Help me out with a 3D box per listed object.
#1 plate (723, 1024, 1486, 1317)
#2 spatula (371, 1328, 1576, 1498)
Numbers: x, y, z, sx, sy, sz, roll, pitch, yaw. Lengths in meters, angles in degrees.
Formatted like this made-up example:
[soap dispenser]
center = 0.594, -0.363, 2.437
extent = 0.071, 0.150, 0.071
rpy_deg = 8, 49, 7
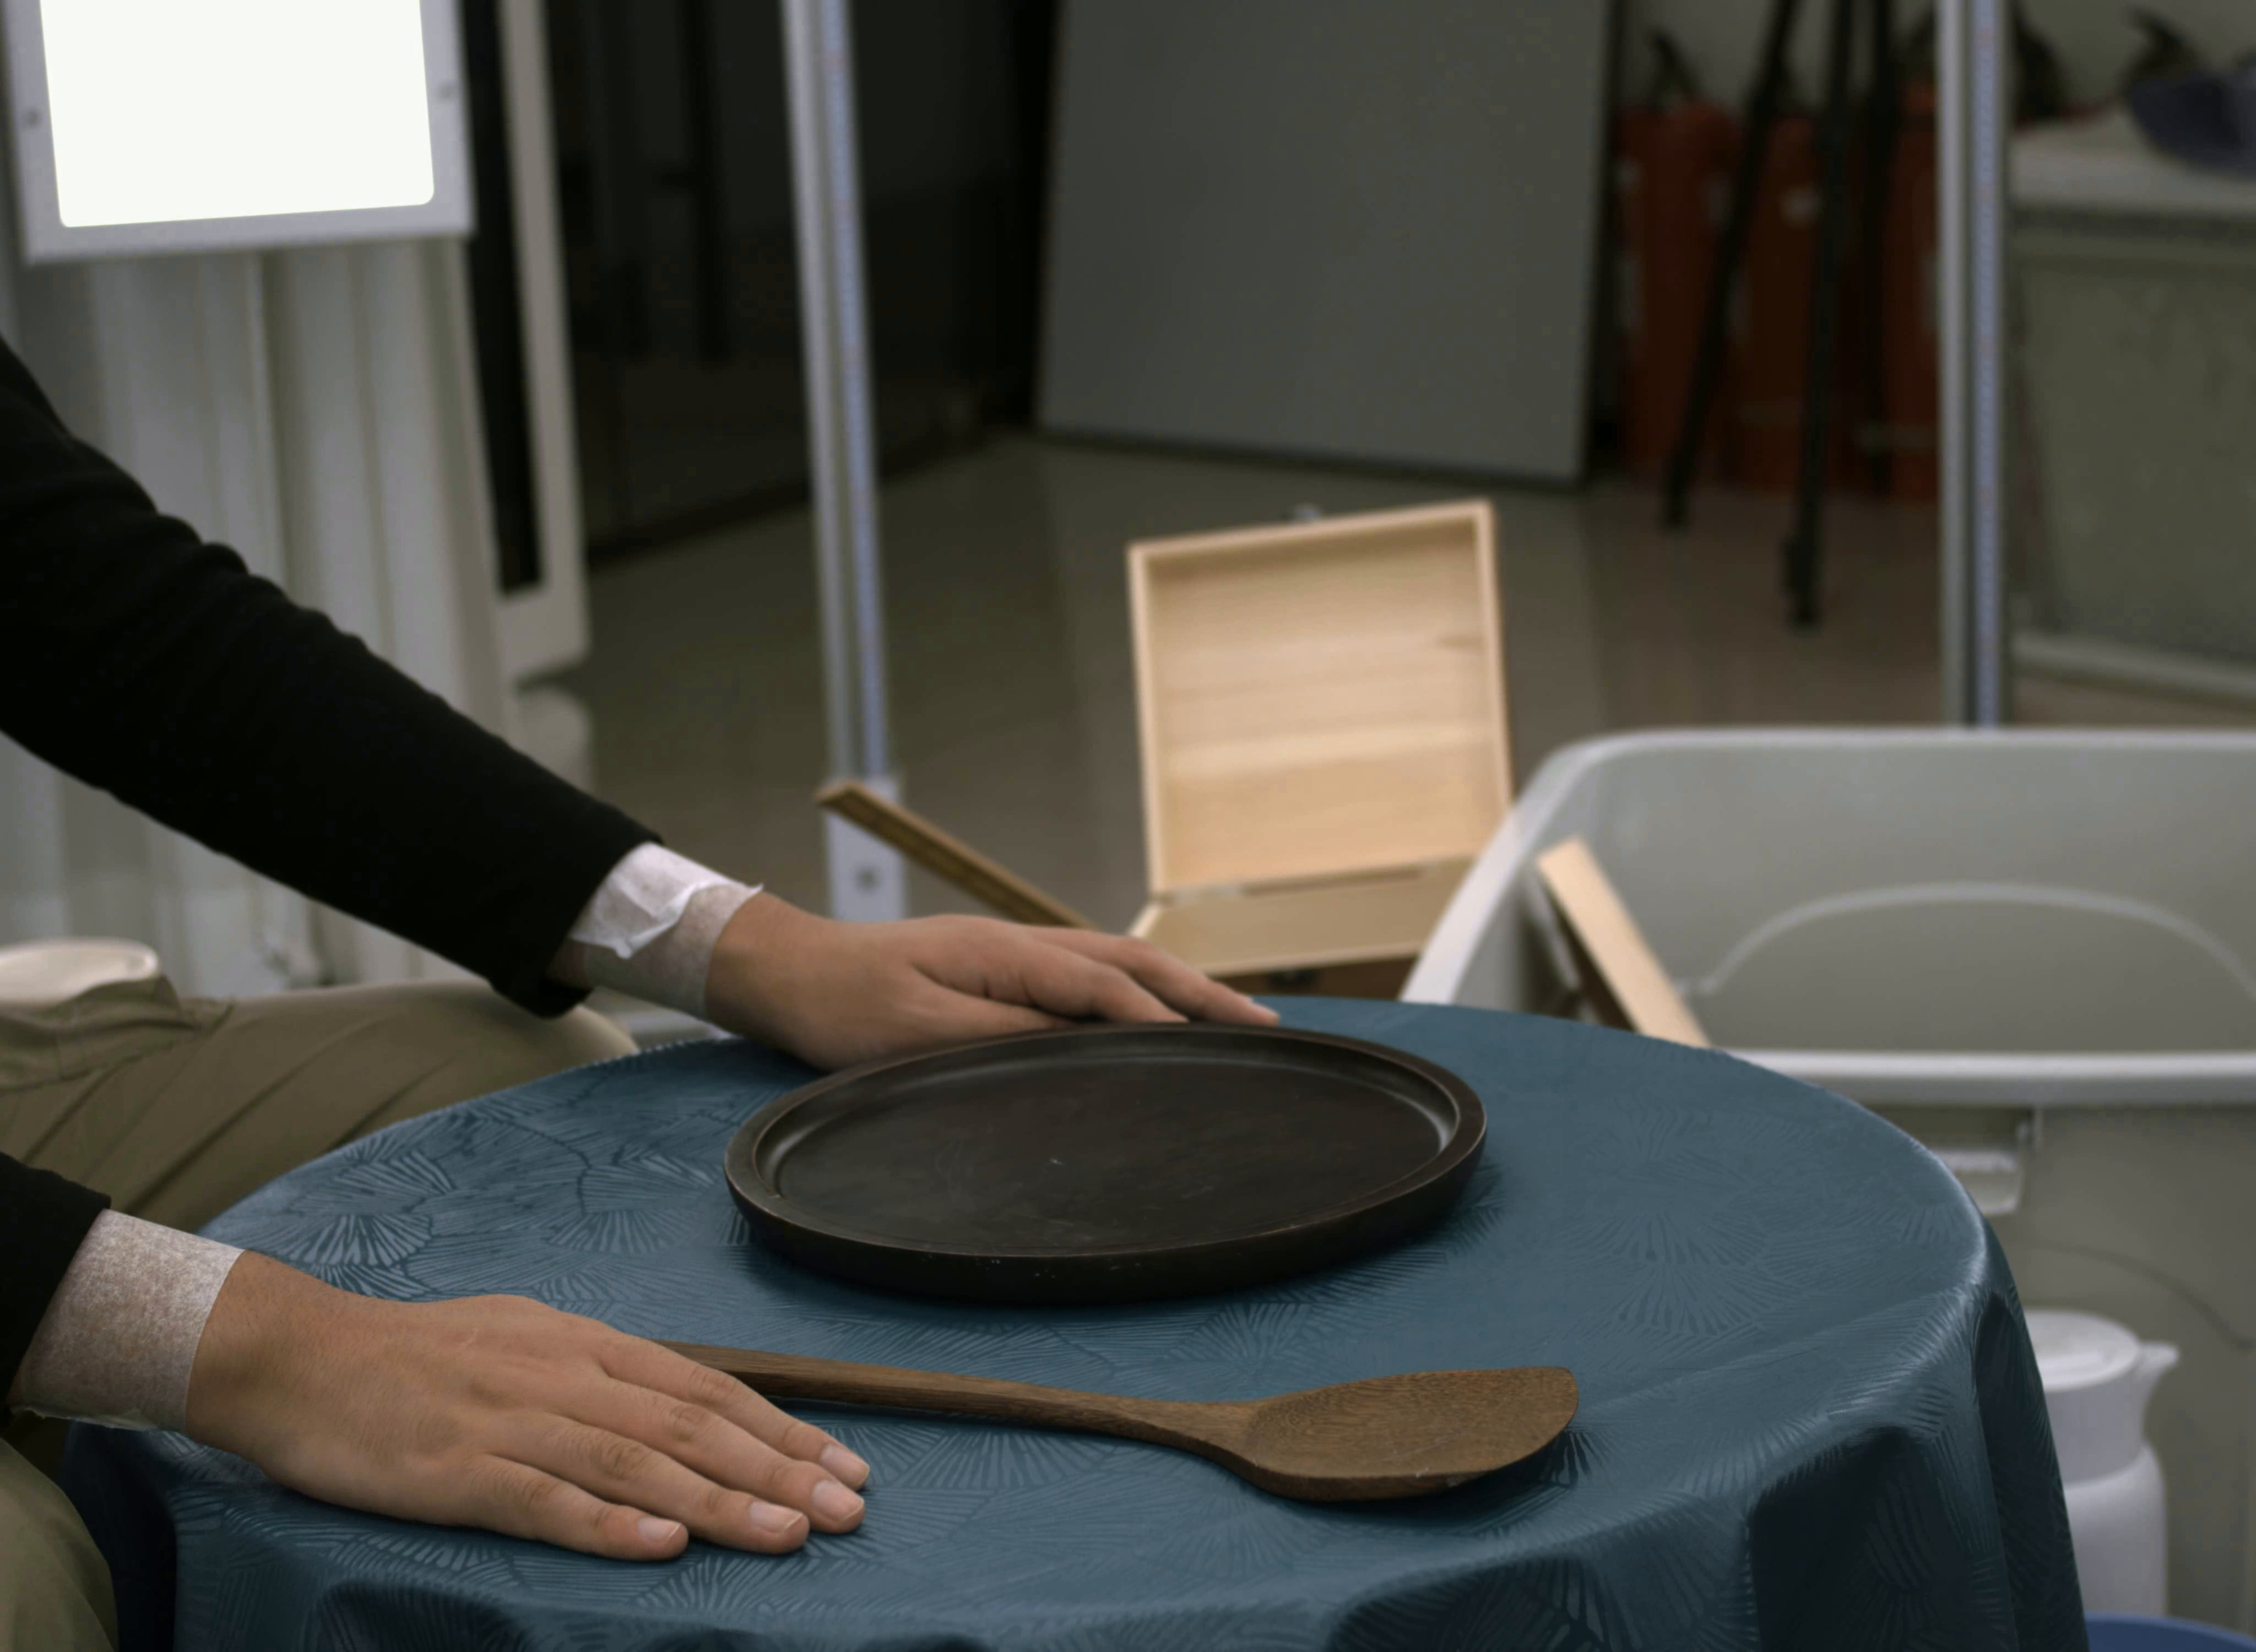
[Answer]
[plate]
center = -0.007, 0.111, 1.767
extent = 0.251, 0.029, 0.255
rpy_deg = -4, 15, 0
[spatula]
center = -0.055, 0.166, 1.573
extent = 0.386, 0.016, 0.095
rpy_deg = 2, 14, 25
